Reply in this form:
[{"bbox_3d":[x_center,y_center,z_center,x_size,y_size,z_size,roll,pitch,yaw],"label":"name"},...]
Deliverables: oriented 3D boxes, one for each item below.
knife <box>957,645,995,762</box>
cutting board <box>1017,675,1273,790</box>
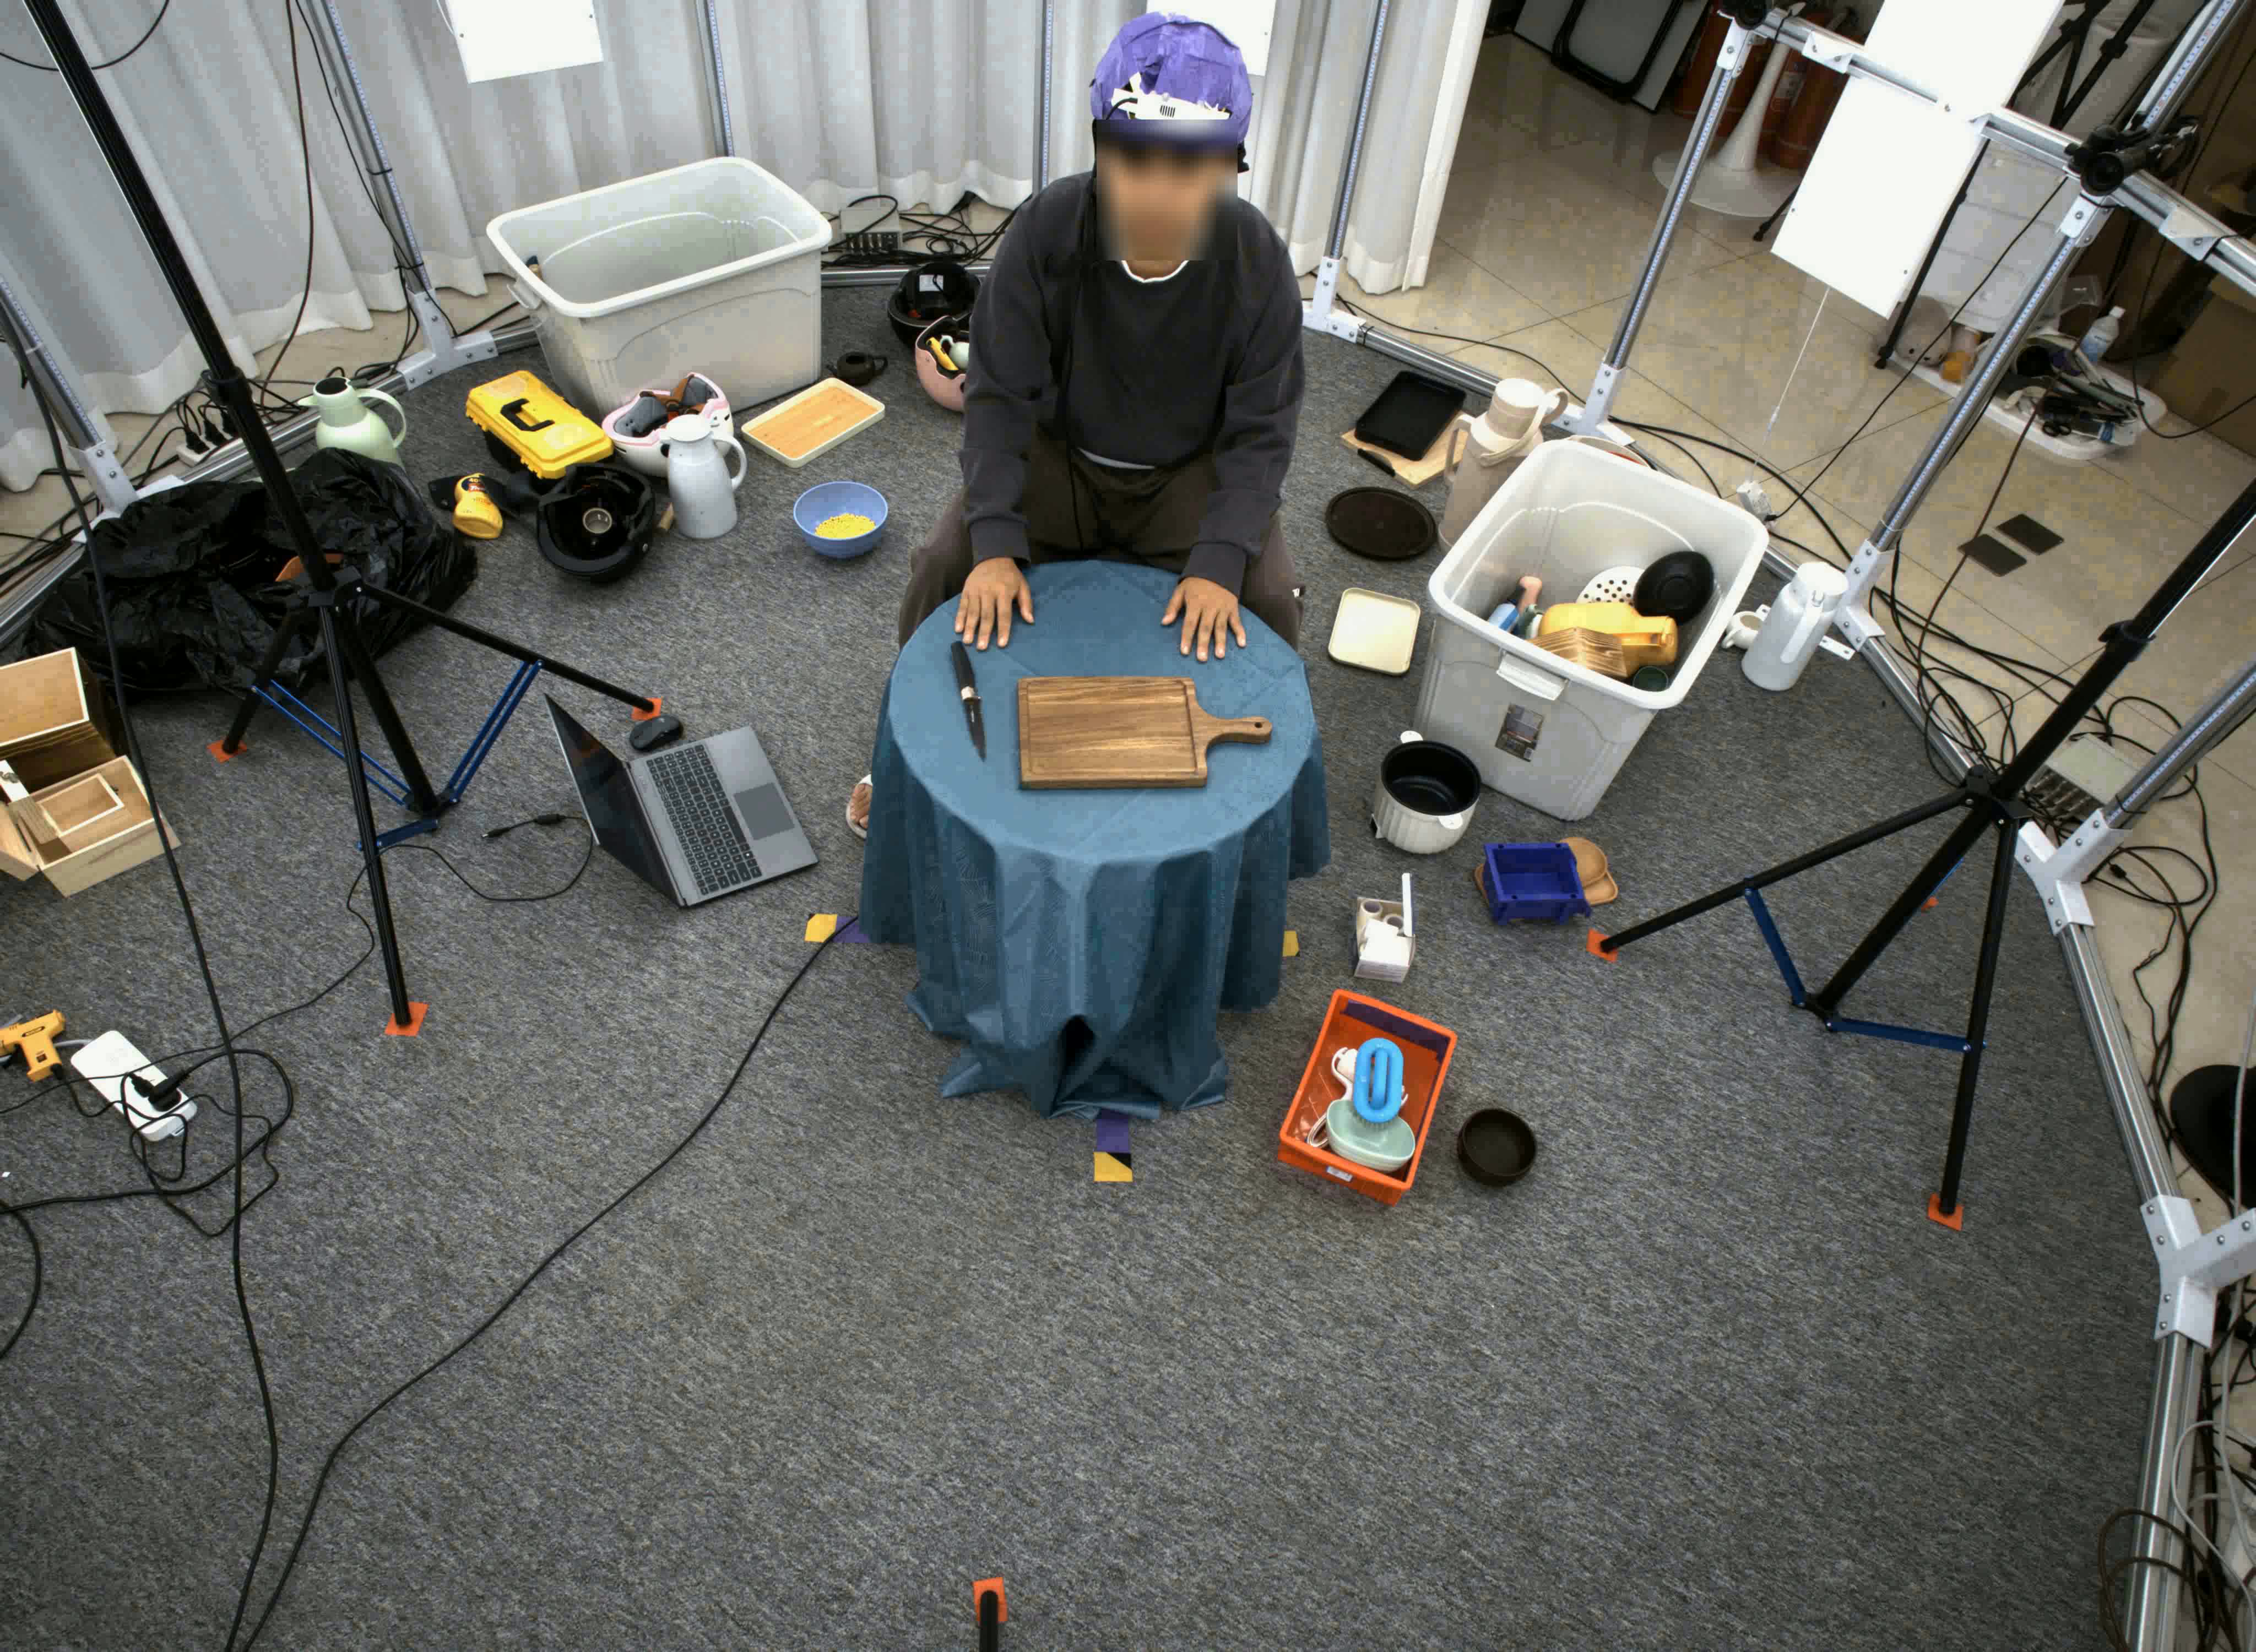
[{"bbox_3d":[-0.213,-0.174,1.793,0.026,0.017,0.231,-3,50,-16],"label":"knife"},{"bbox_3d":[0.026,-0.132,1.768,0.351,0.022,0.206,-1,49,-5],"label":"cutting board"}]
